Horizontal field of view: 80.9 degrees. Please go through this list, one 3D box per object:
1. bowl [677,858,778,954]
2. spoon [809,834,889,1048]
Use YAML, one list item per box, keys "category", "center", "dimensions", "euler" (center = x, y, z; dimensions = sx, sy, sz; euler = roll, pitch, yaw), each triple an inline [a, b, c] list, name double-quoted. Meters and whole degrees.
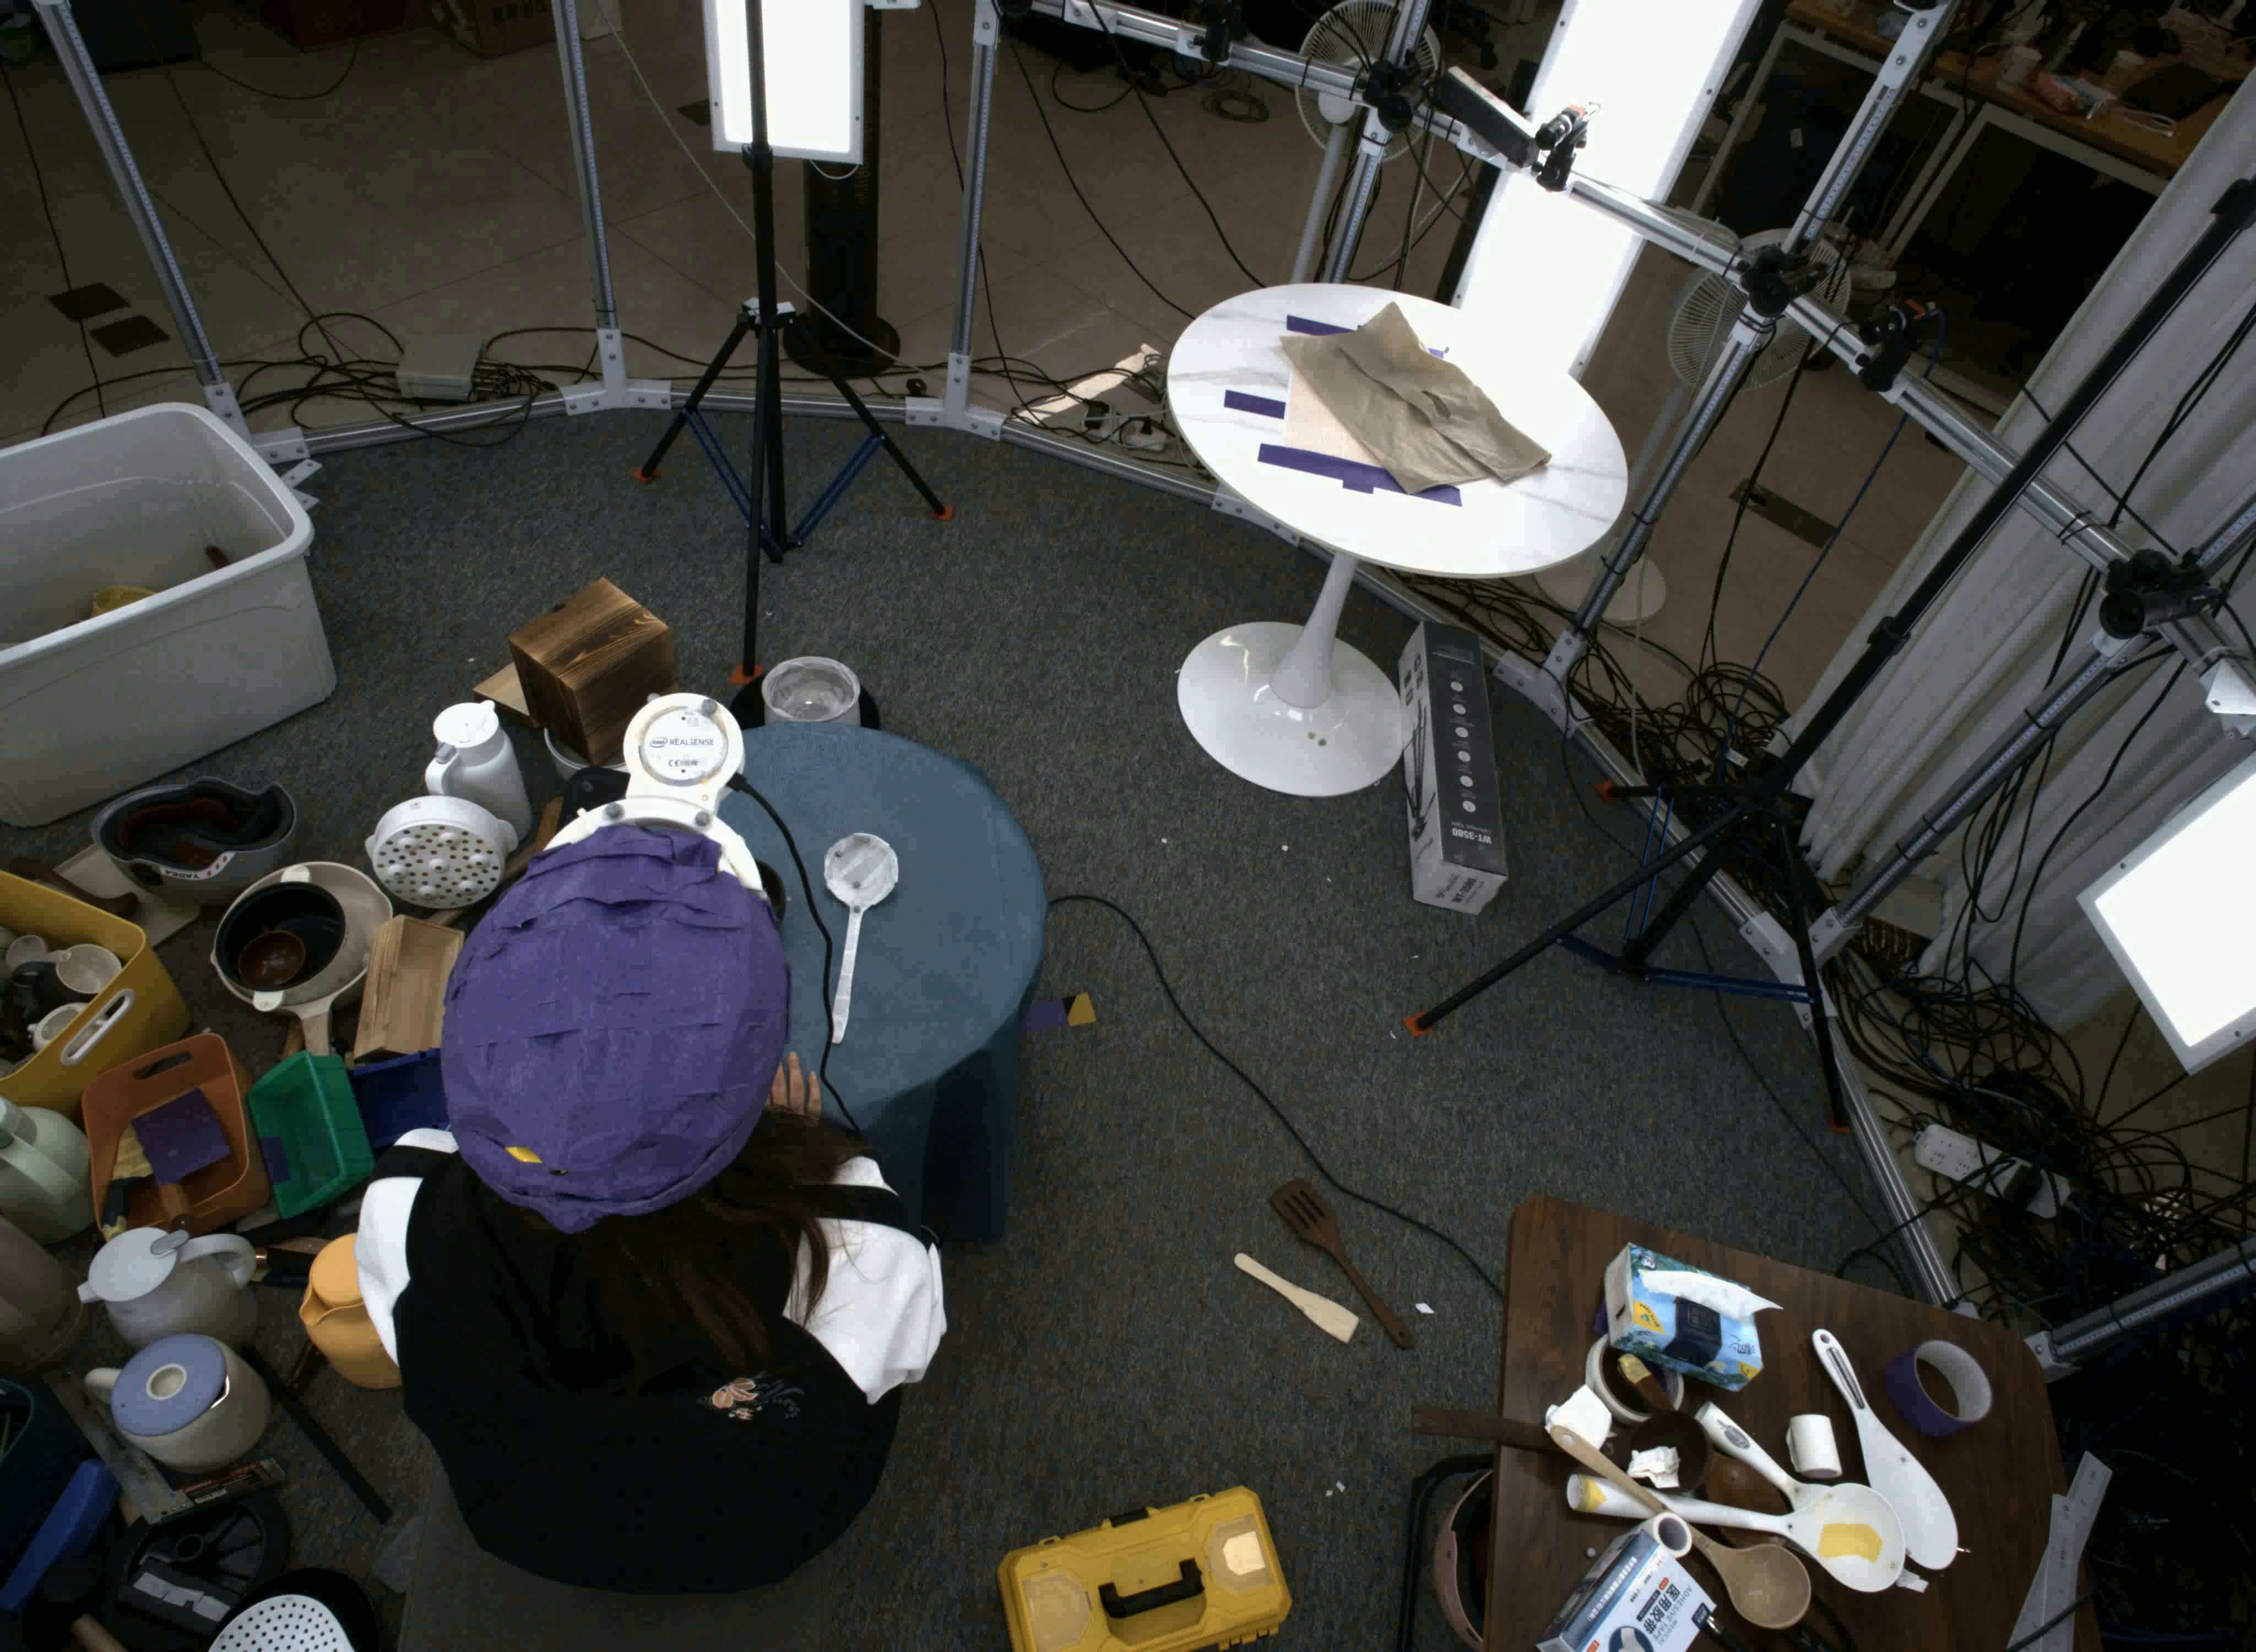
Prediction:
- category: "bowl"
  center: [-0.487, 0.103, 1.578]
  dimensions: [0.118, 0.071, 0.116]
  euler: [7, 52, -8]
- category: "spoon"
  center: [-0.359, 0.134, 1.599]
  dimensions: [0.100, 0.061, 0.272]
  euler: [6, 52, -5]
